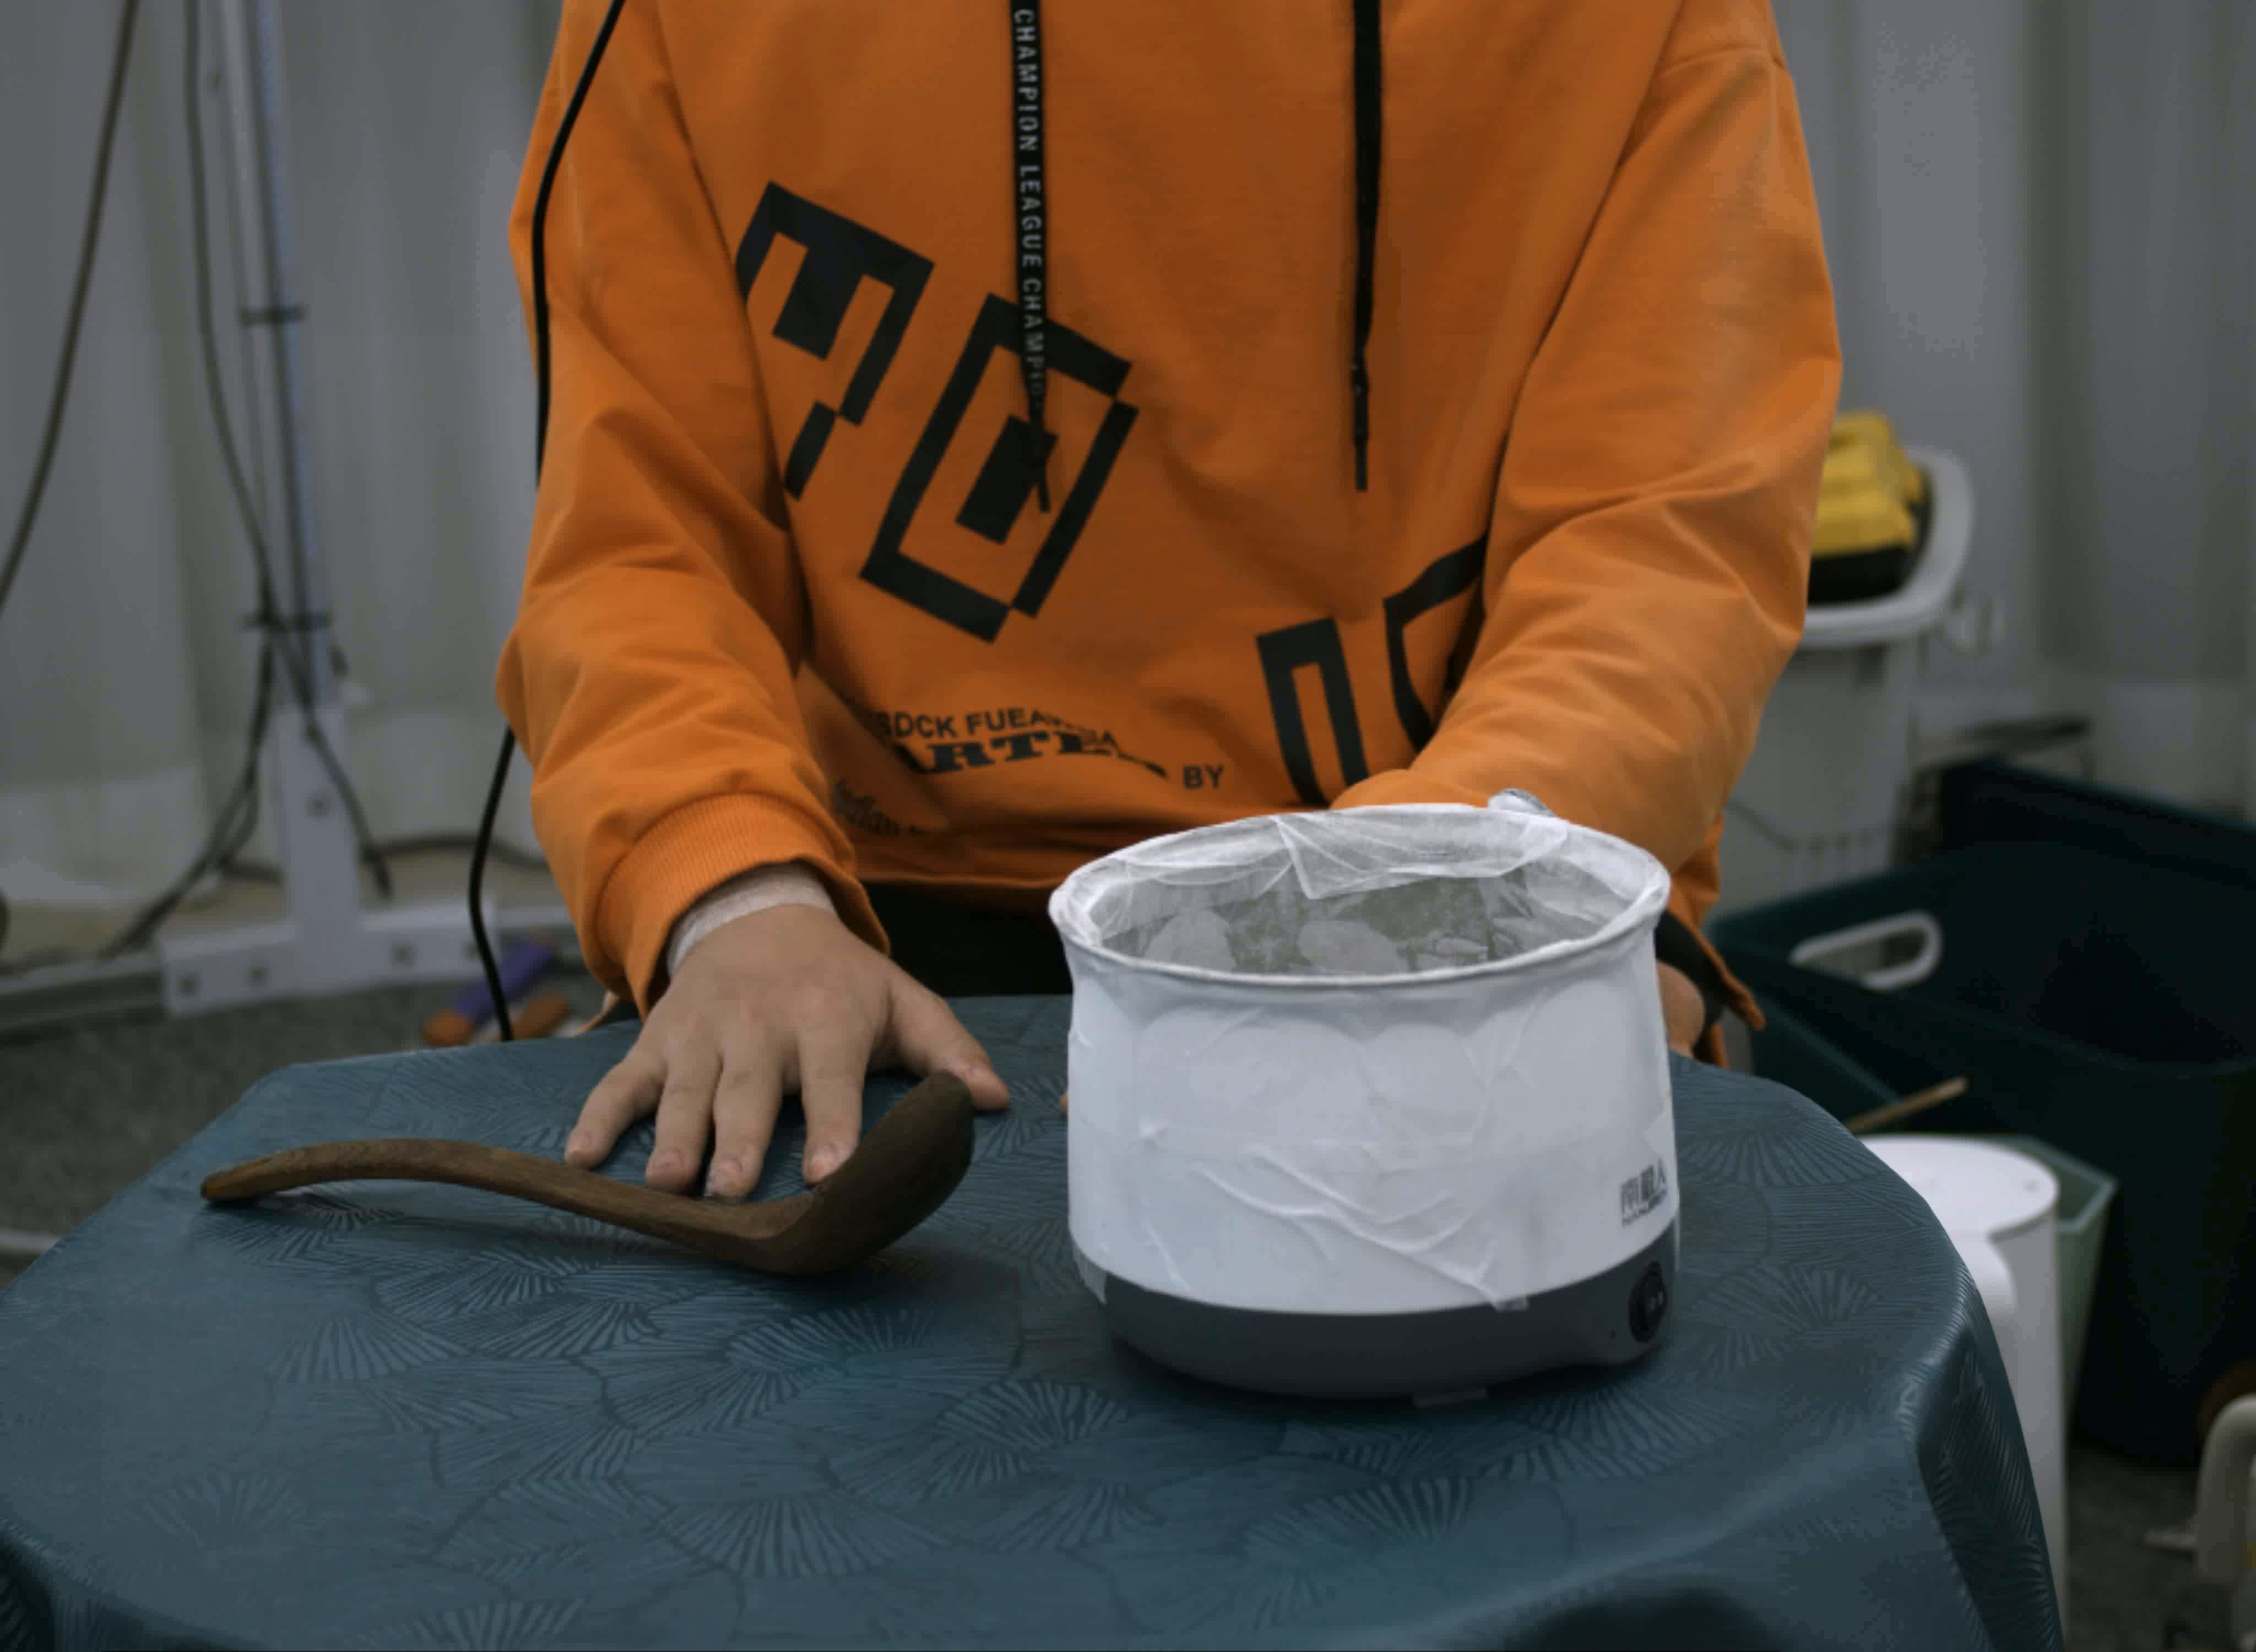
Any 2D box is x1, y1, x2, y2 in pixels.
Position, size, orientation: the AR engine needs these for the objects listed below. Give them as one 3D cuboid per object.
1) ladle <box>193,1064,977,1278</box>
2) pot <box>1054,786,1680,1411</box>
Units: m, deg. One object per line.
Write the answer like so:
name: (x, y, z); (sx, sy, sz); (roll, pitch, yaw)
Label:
ladle: (-0.173, 0.095, 1.688); (0.274, 0.071, 0.076); (5, 13, 26)
pot: (0.082, 0.072, 1.594); (0.179, 0.136, 0.234); (6, 17, 28)
